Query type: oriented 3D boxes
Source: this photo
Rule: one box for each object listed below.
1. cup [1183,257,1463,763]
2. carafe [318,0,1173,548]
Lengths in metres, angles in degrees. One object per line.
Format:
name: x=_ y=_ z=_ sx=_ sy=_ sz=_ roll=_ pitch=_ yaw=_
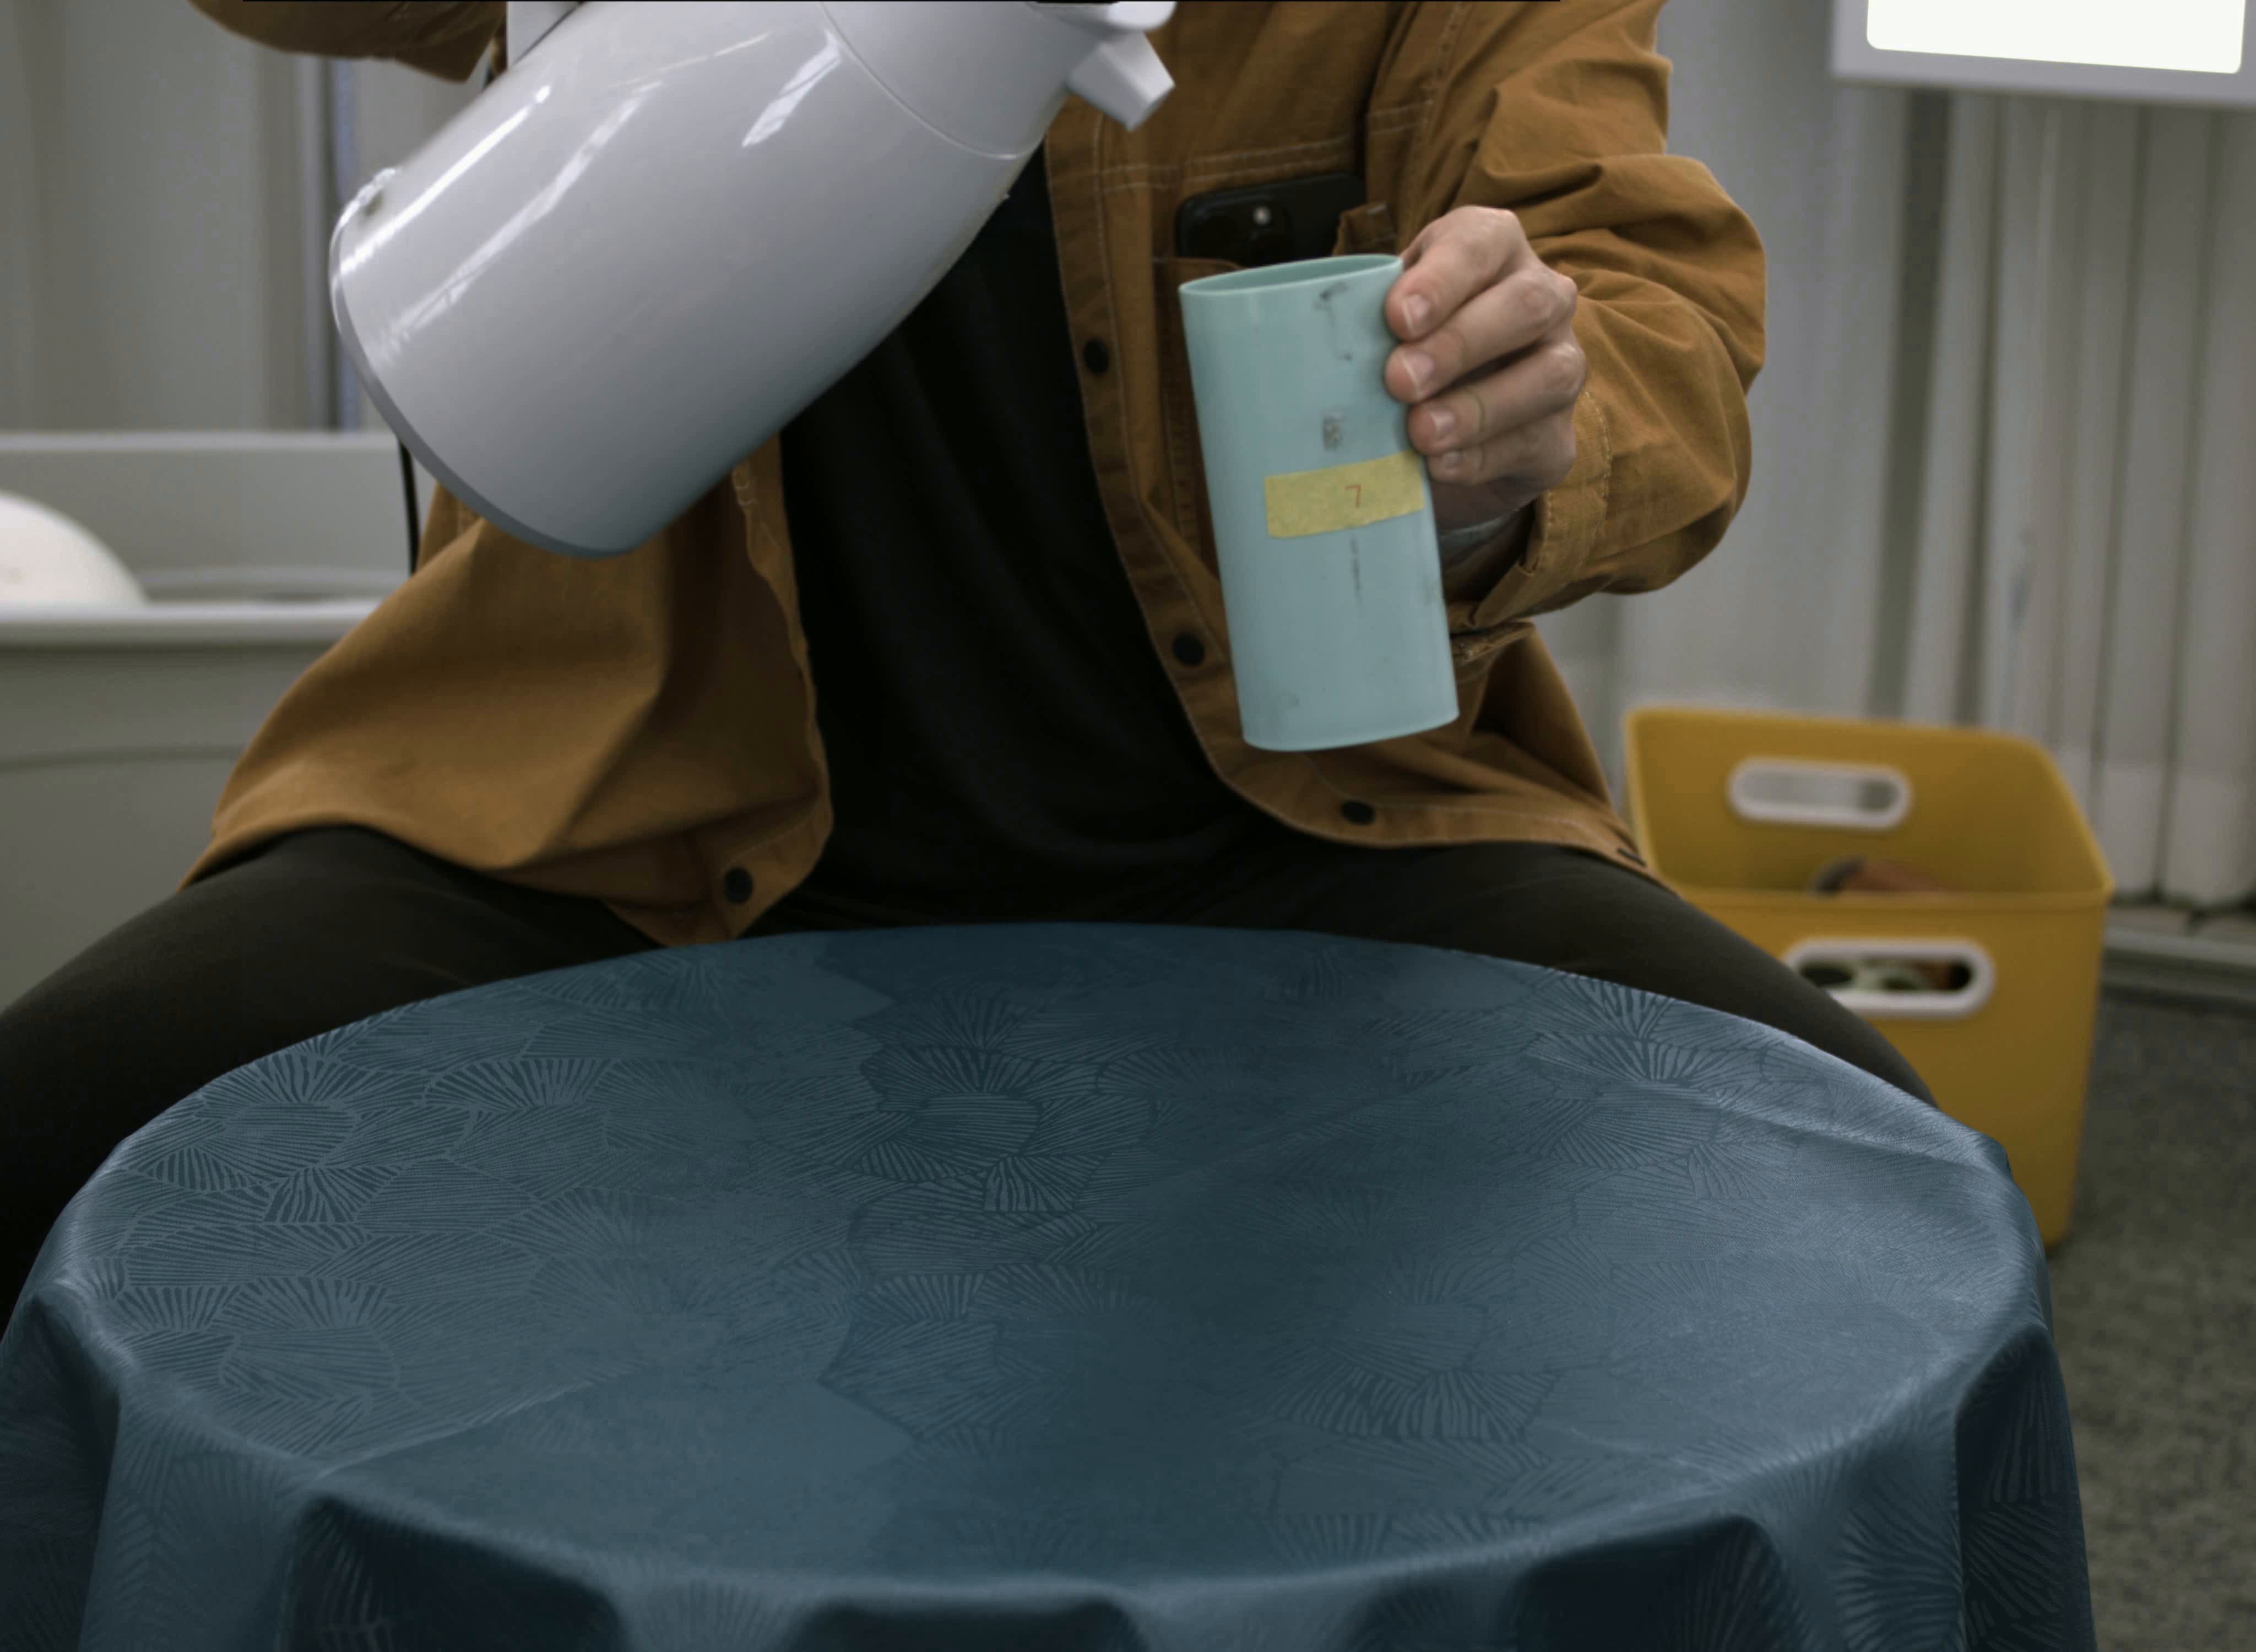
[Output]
cup: x=0.055 y=-0.090 z=1.476 sx=0.066 sy=0.133 sz=0.066 roll=-8 pitch=12 yaw=2
carafe: x=-0.113 y=-0.214 z=1.488 sx=0.248 sy=0.168 sz=0.132 roll=-36 pitch=8 yaw=29
